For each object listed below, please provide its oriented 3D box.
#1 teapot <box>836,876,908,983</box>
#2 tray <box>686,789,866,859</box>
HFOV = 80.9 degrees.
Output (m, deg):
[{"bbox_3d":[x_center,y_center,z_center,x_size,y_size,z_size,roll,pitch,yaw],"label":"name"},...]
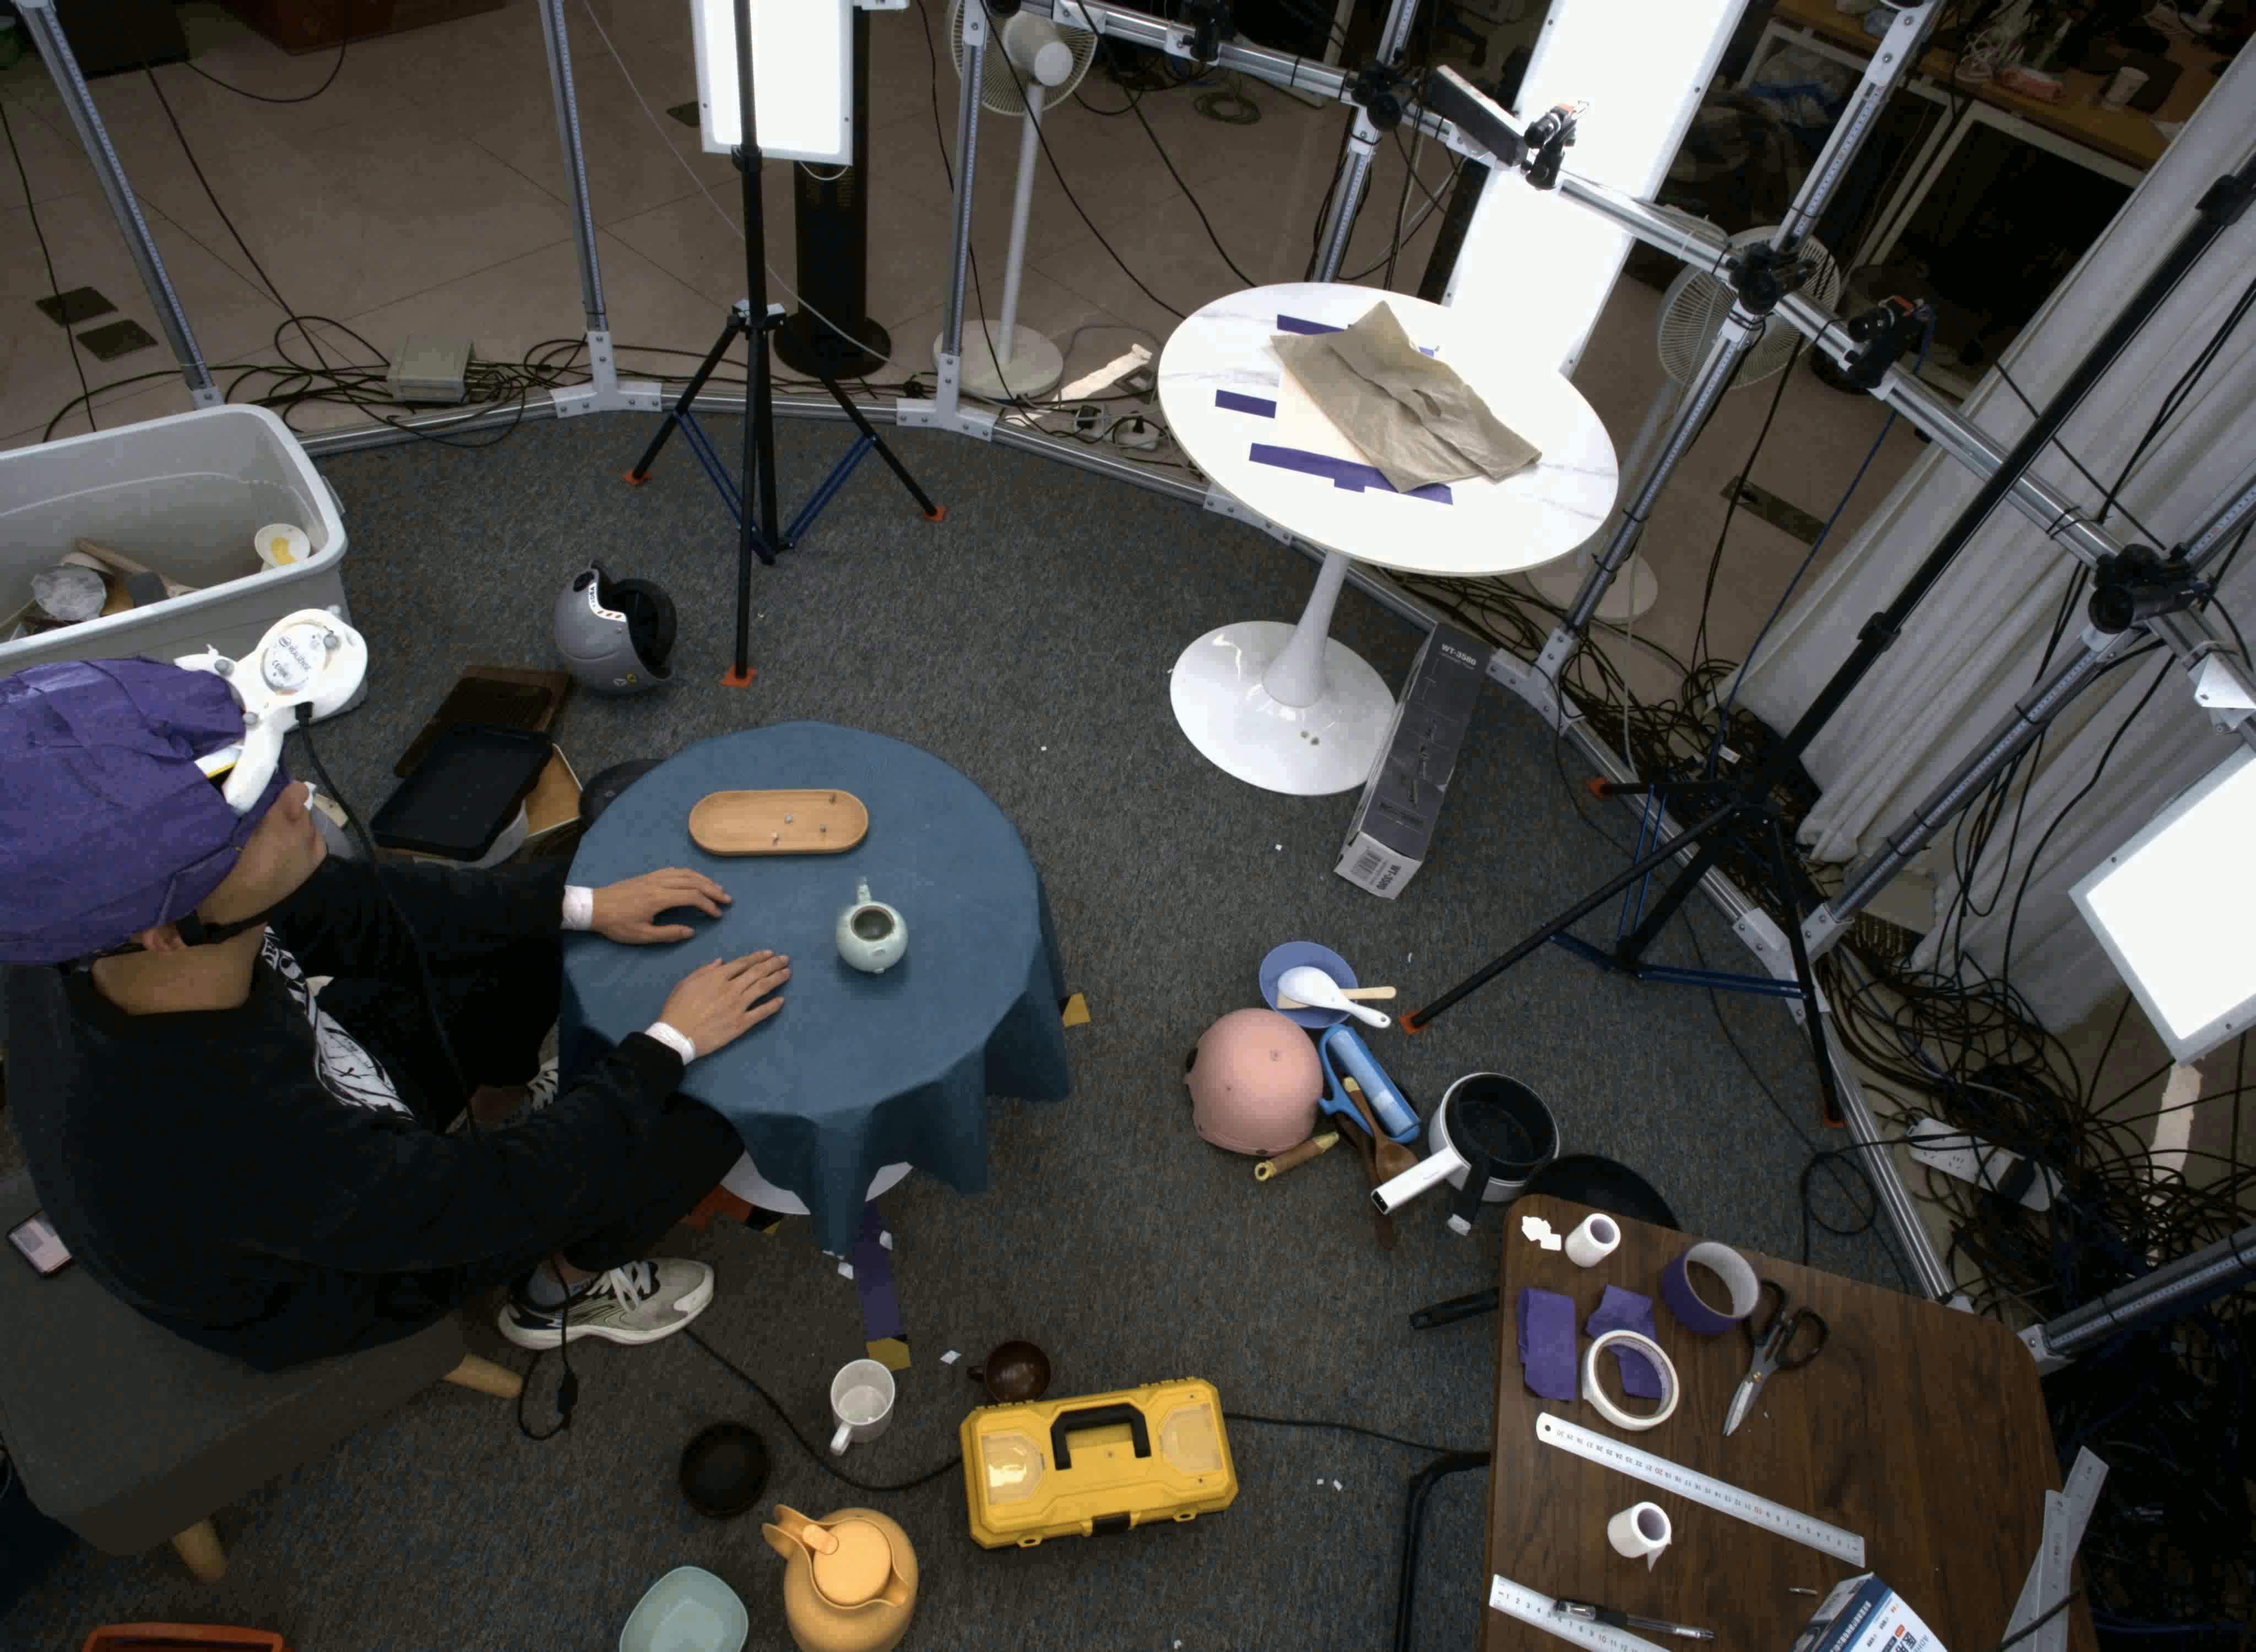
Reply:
[{"bbox_3d":[-0.316,0.134,1.602,0.089,0.076,0.140,-9,54,-19],"label":"teapot"},{"bbox_3d":[-0.462,-0.003,1.704,0.231,0.021,0.099,-3,53,-14],"label":"tray"}]
